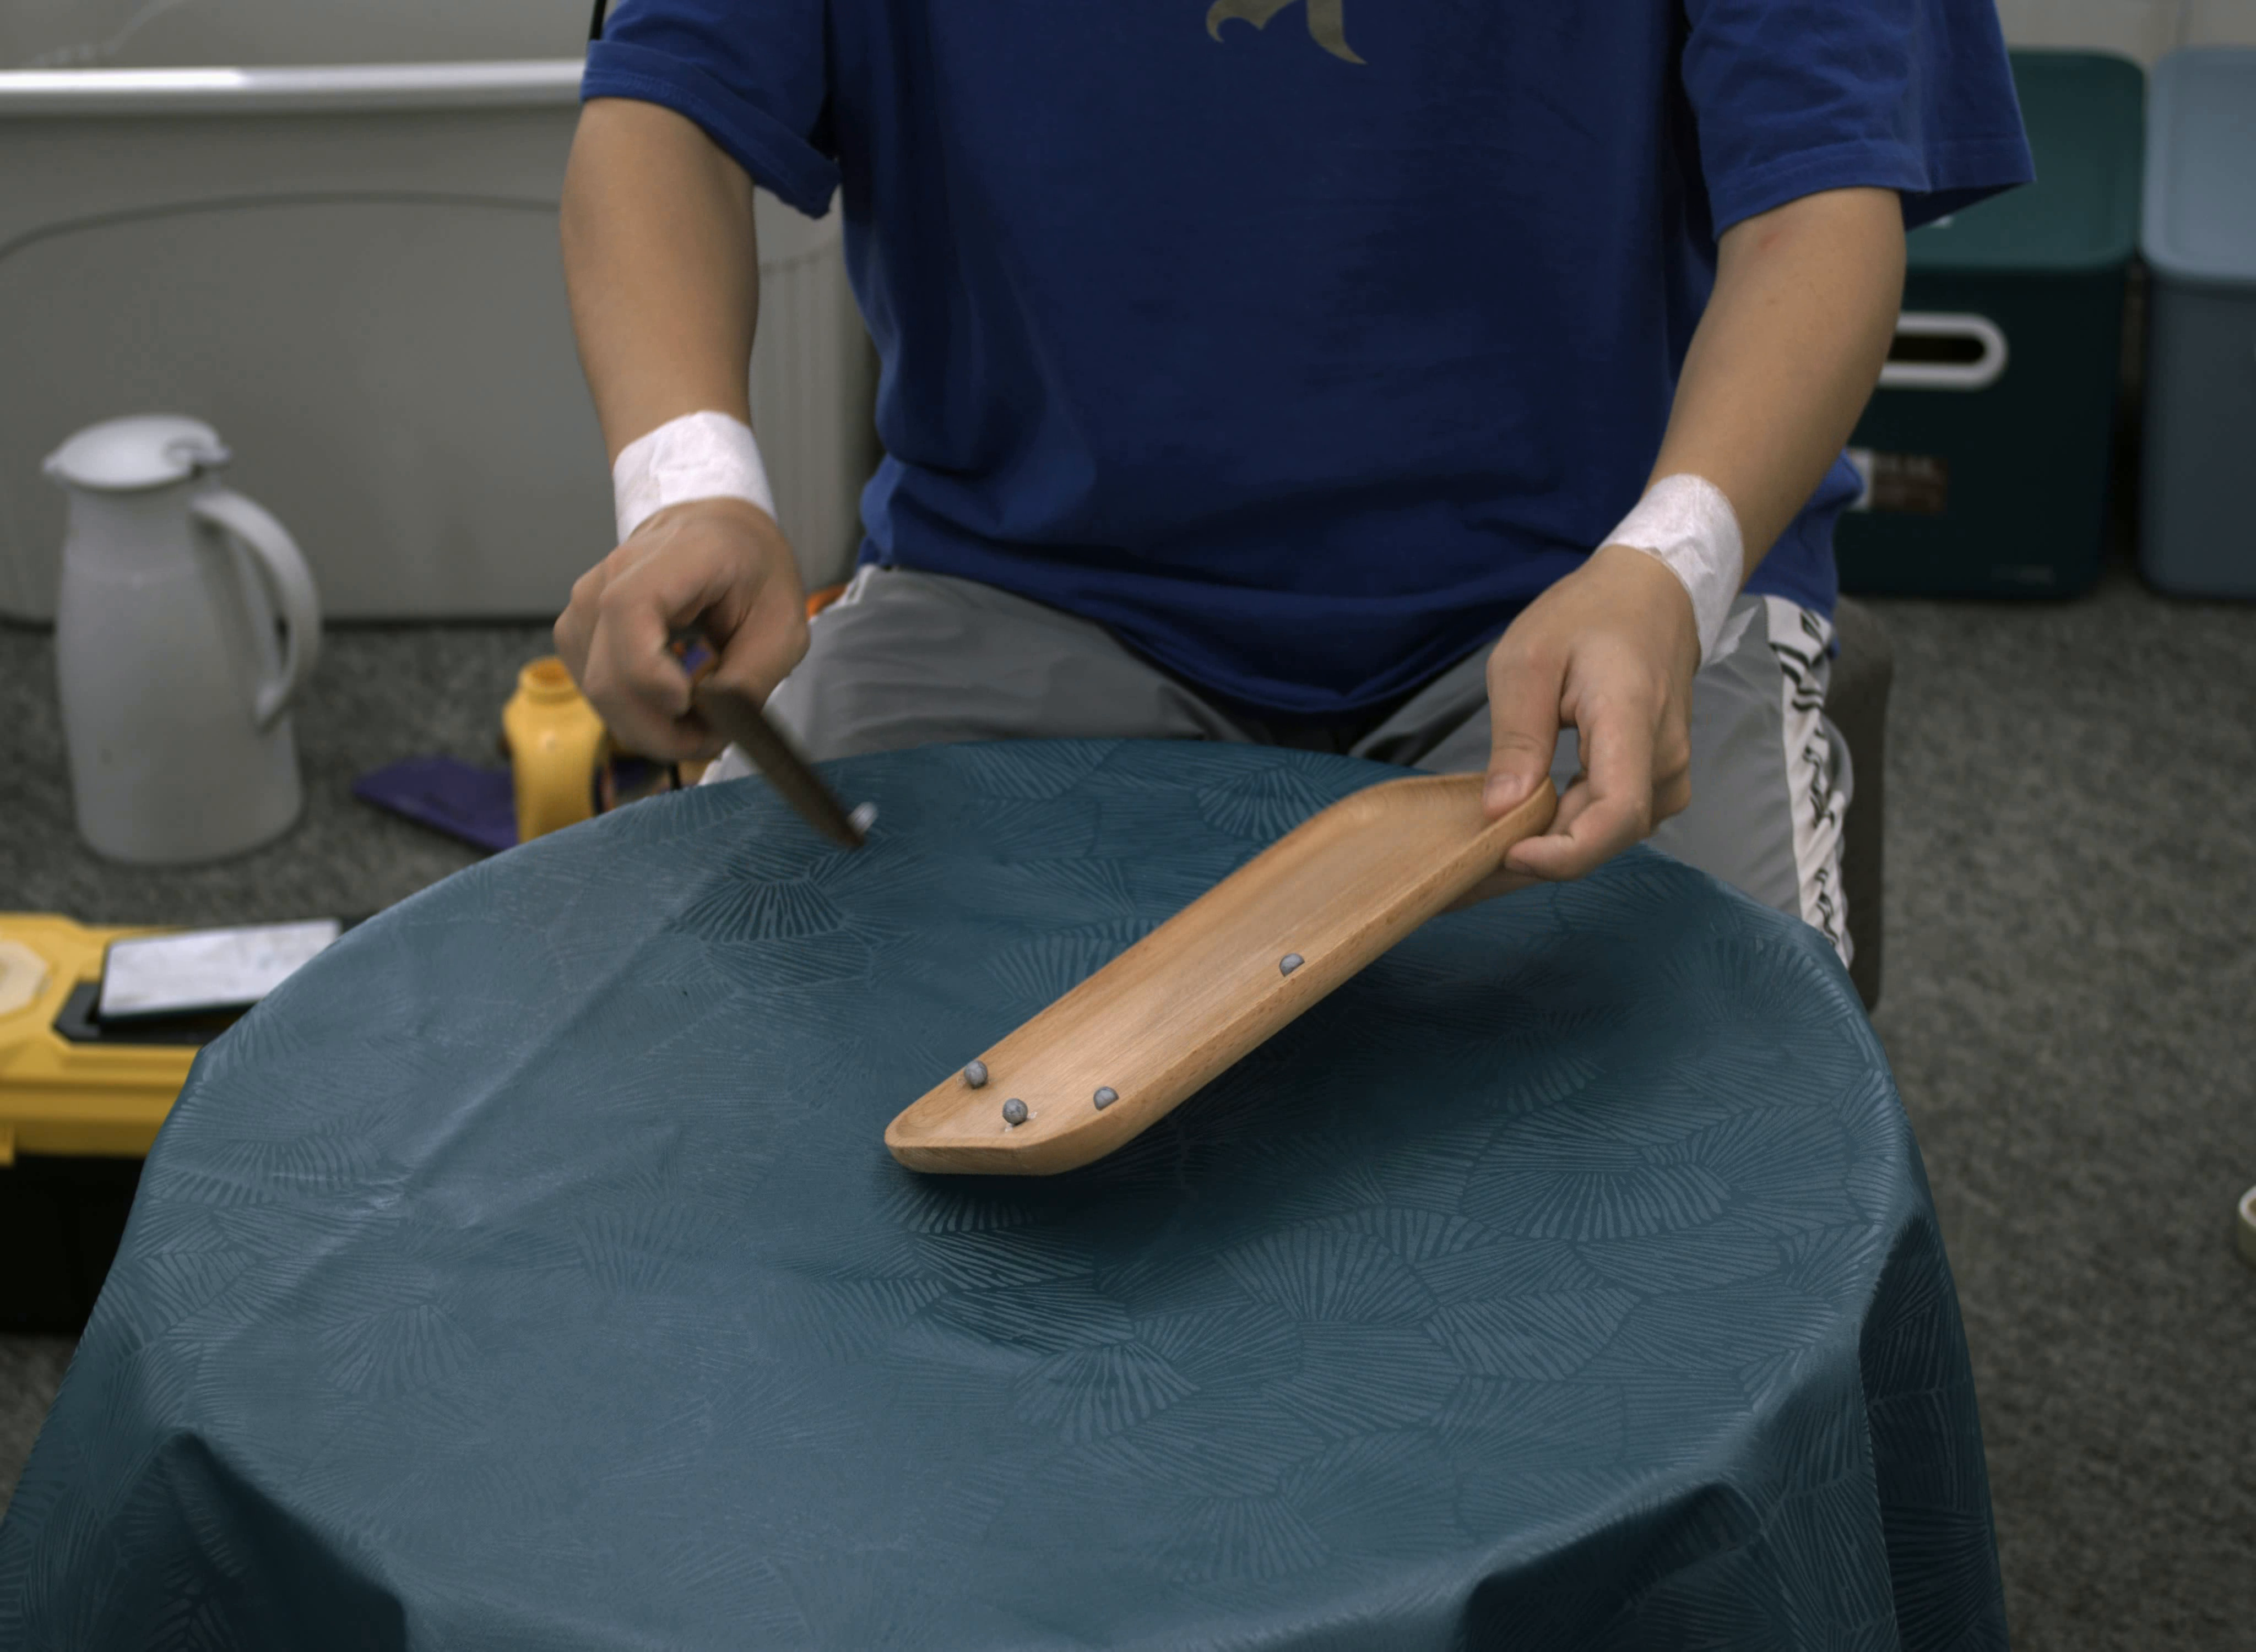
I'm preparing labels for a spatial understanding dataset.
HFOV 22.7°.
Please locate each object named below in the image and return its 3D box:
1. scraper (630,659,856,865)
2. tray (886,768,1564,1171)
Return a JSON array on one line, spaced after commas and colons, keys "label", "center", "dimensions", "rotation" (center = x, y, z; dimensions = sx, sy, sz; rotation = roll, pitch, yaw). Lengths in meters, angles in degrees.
[{"label": "scraper", "center": [-0.143, -0.030, 1.948], "dimensions": [0.011, 0.075, 0.211], "rotation": [-42, 19, -5]}, {"label": "tray", "center": [0.035, 0.048, 1.900], "dimensions": [0.254, 0.023, 0.129], "rotation": [-33, 17, -31]}]
